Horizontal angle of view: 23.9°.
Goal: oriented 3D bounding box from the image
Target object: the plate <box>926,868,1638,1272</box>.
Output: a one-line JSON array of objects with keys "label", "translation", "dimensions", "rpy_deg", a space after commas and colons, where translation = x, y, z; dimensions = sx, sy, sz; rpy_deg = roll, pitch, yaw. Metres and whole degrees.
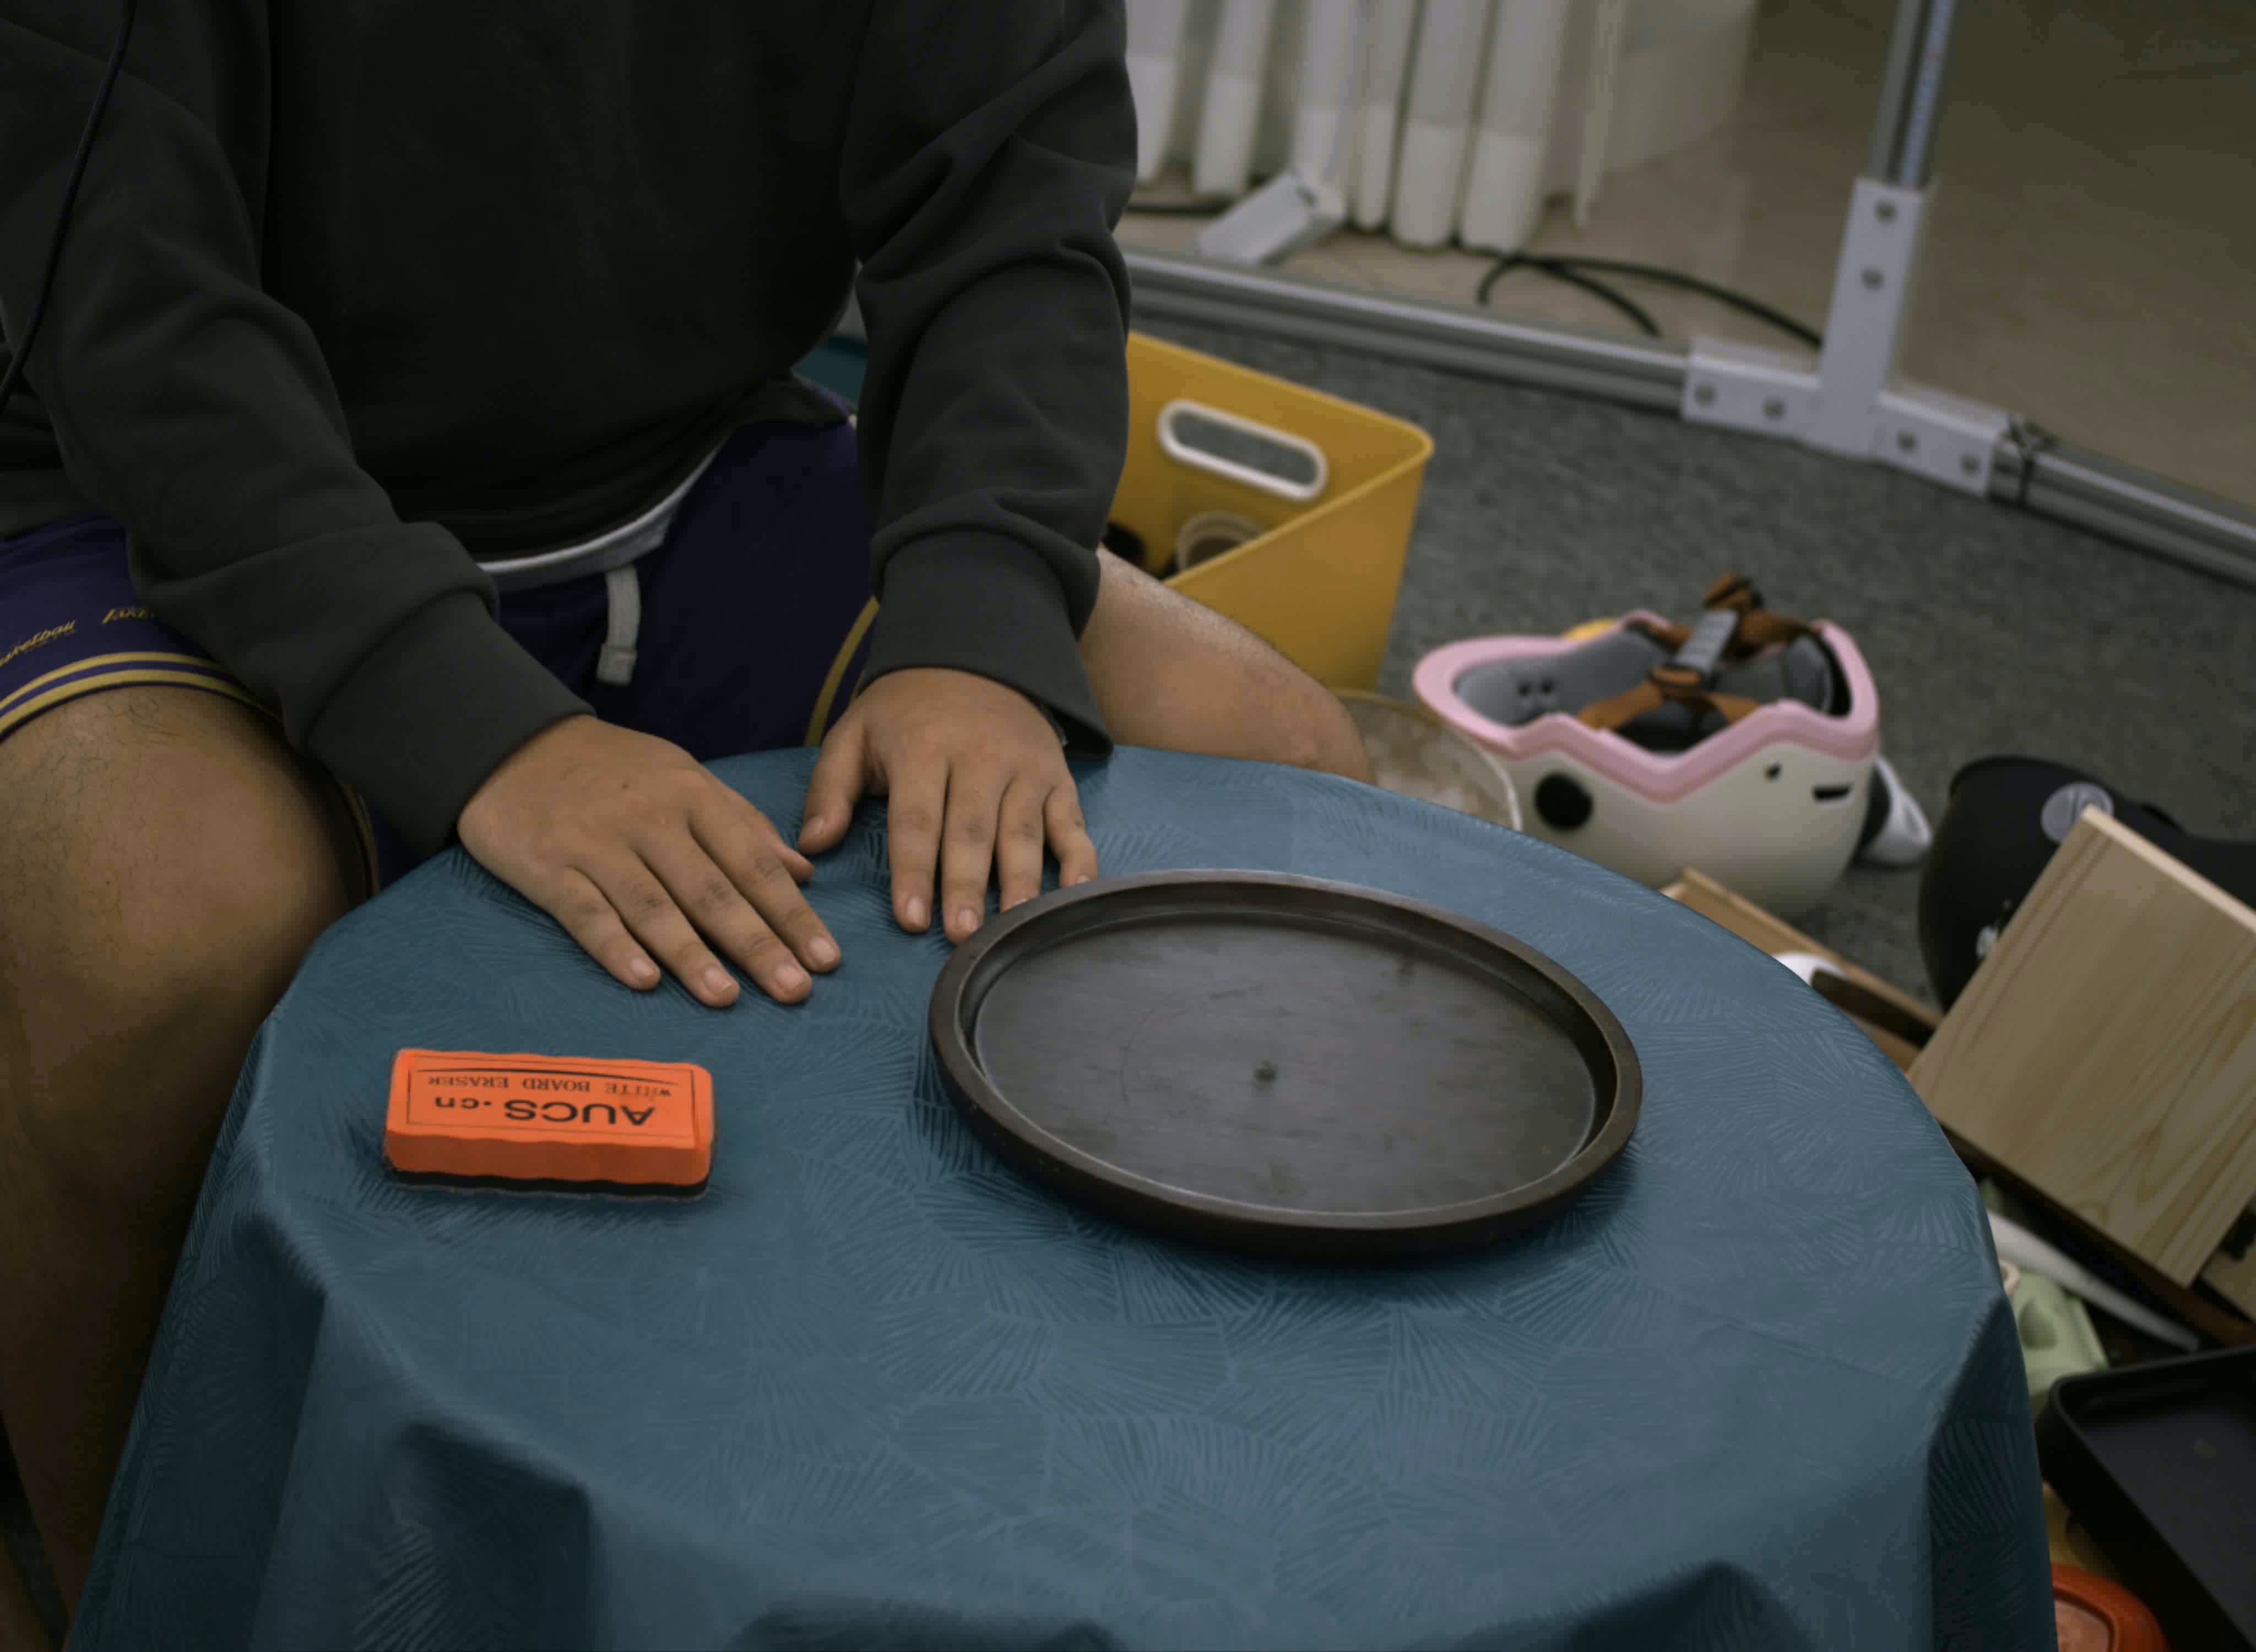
[{"label": "plate", "translation": [0.054, 0.083, 1.868], "dimensions": [0.254, 0.029, 0.256], "rpy_deg": [4, 28, -3]}]

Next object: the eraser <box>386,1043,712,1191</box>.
[{"label": "eraser", "translation": [-0.193, 0.097, 1.777], "dimensions": [0.107, 0.023, 0.059], "rpy_deg": [2, 28, -6]}]
